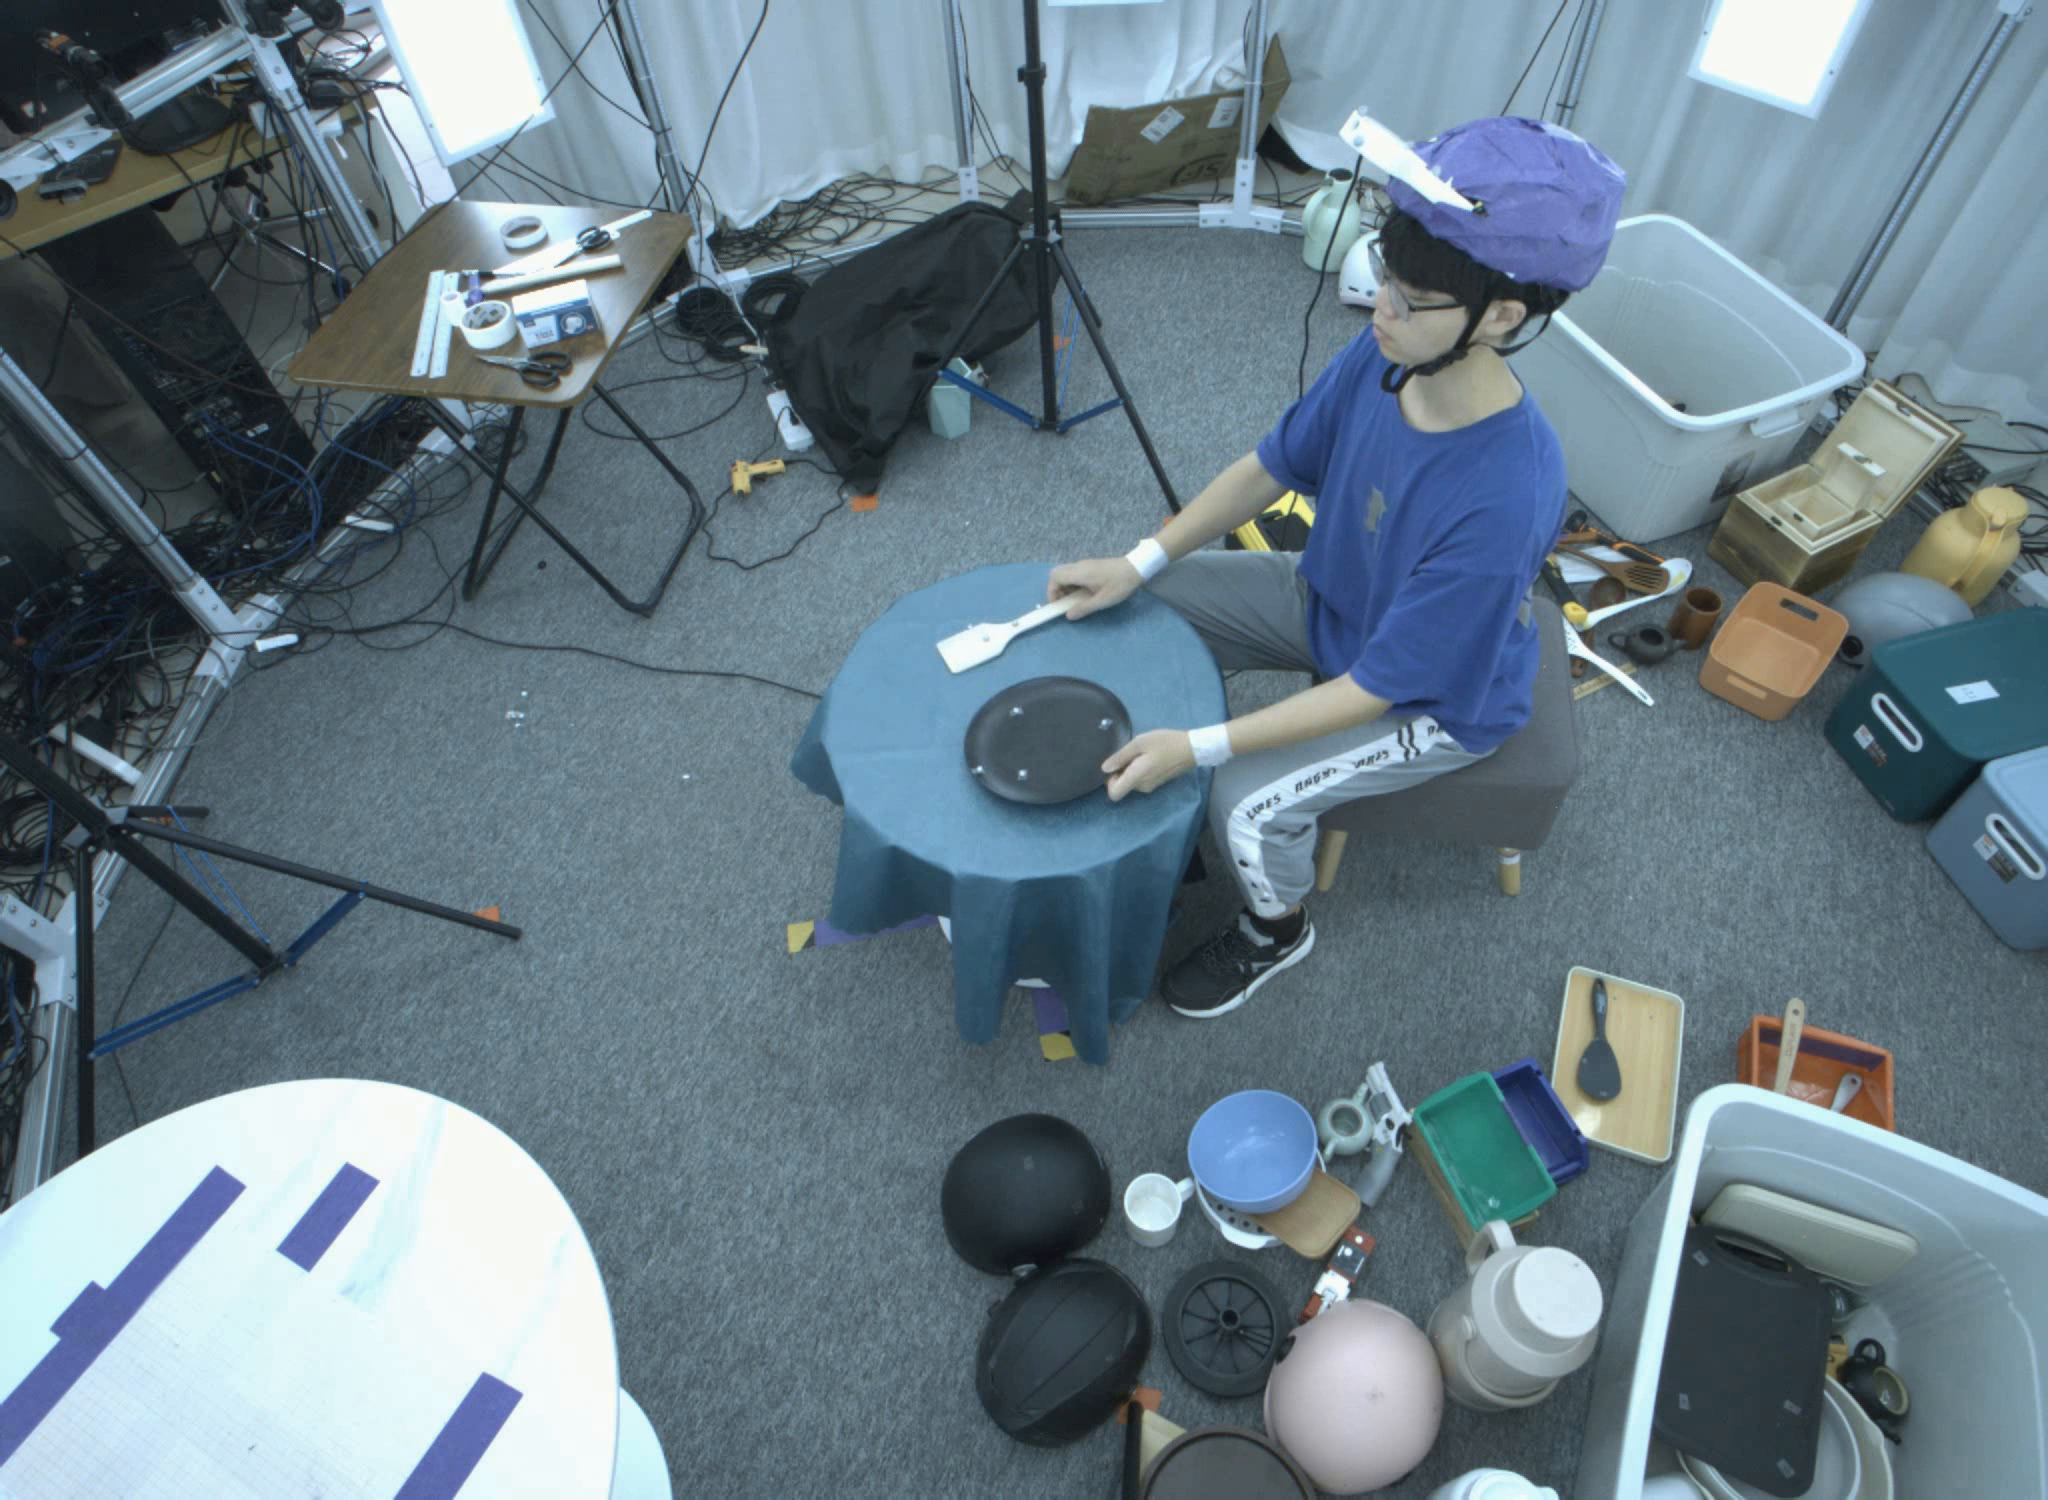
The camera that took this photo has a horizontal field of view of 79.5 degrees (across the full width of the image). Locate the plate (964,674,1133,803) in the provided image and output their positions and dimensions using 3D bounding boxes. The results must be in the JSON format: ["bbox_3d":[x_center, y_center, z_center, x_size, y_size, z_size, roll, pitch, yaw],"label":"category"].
[{"bbox_3d":[0.035,-0.014,1.758,0.243,0.024,0.242,-4,49,6],"label":"plate"}]

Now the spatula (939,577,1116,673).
[{"bbox_3d":[0.011,-0.203,1.906,0.294,0.011,0.071,-26,57,-9],"label":"spatula"}]
